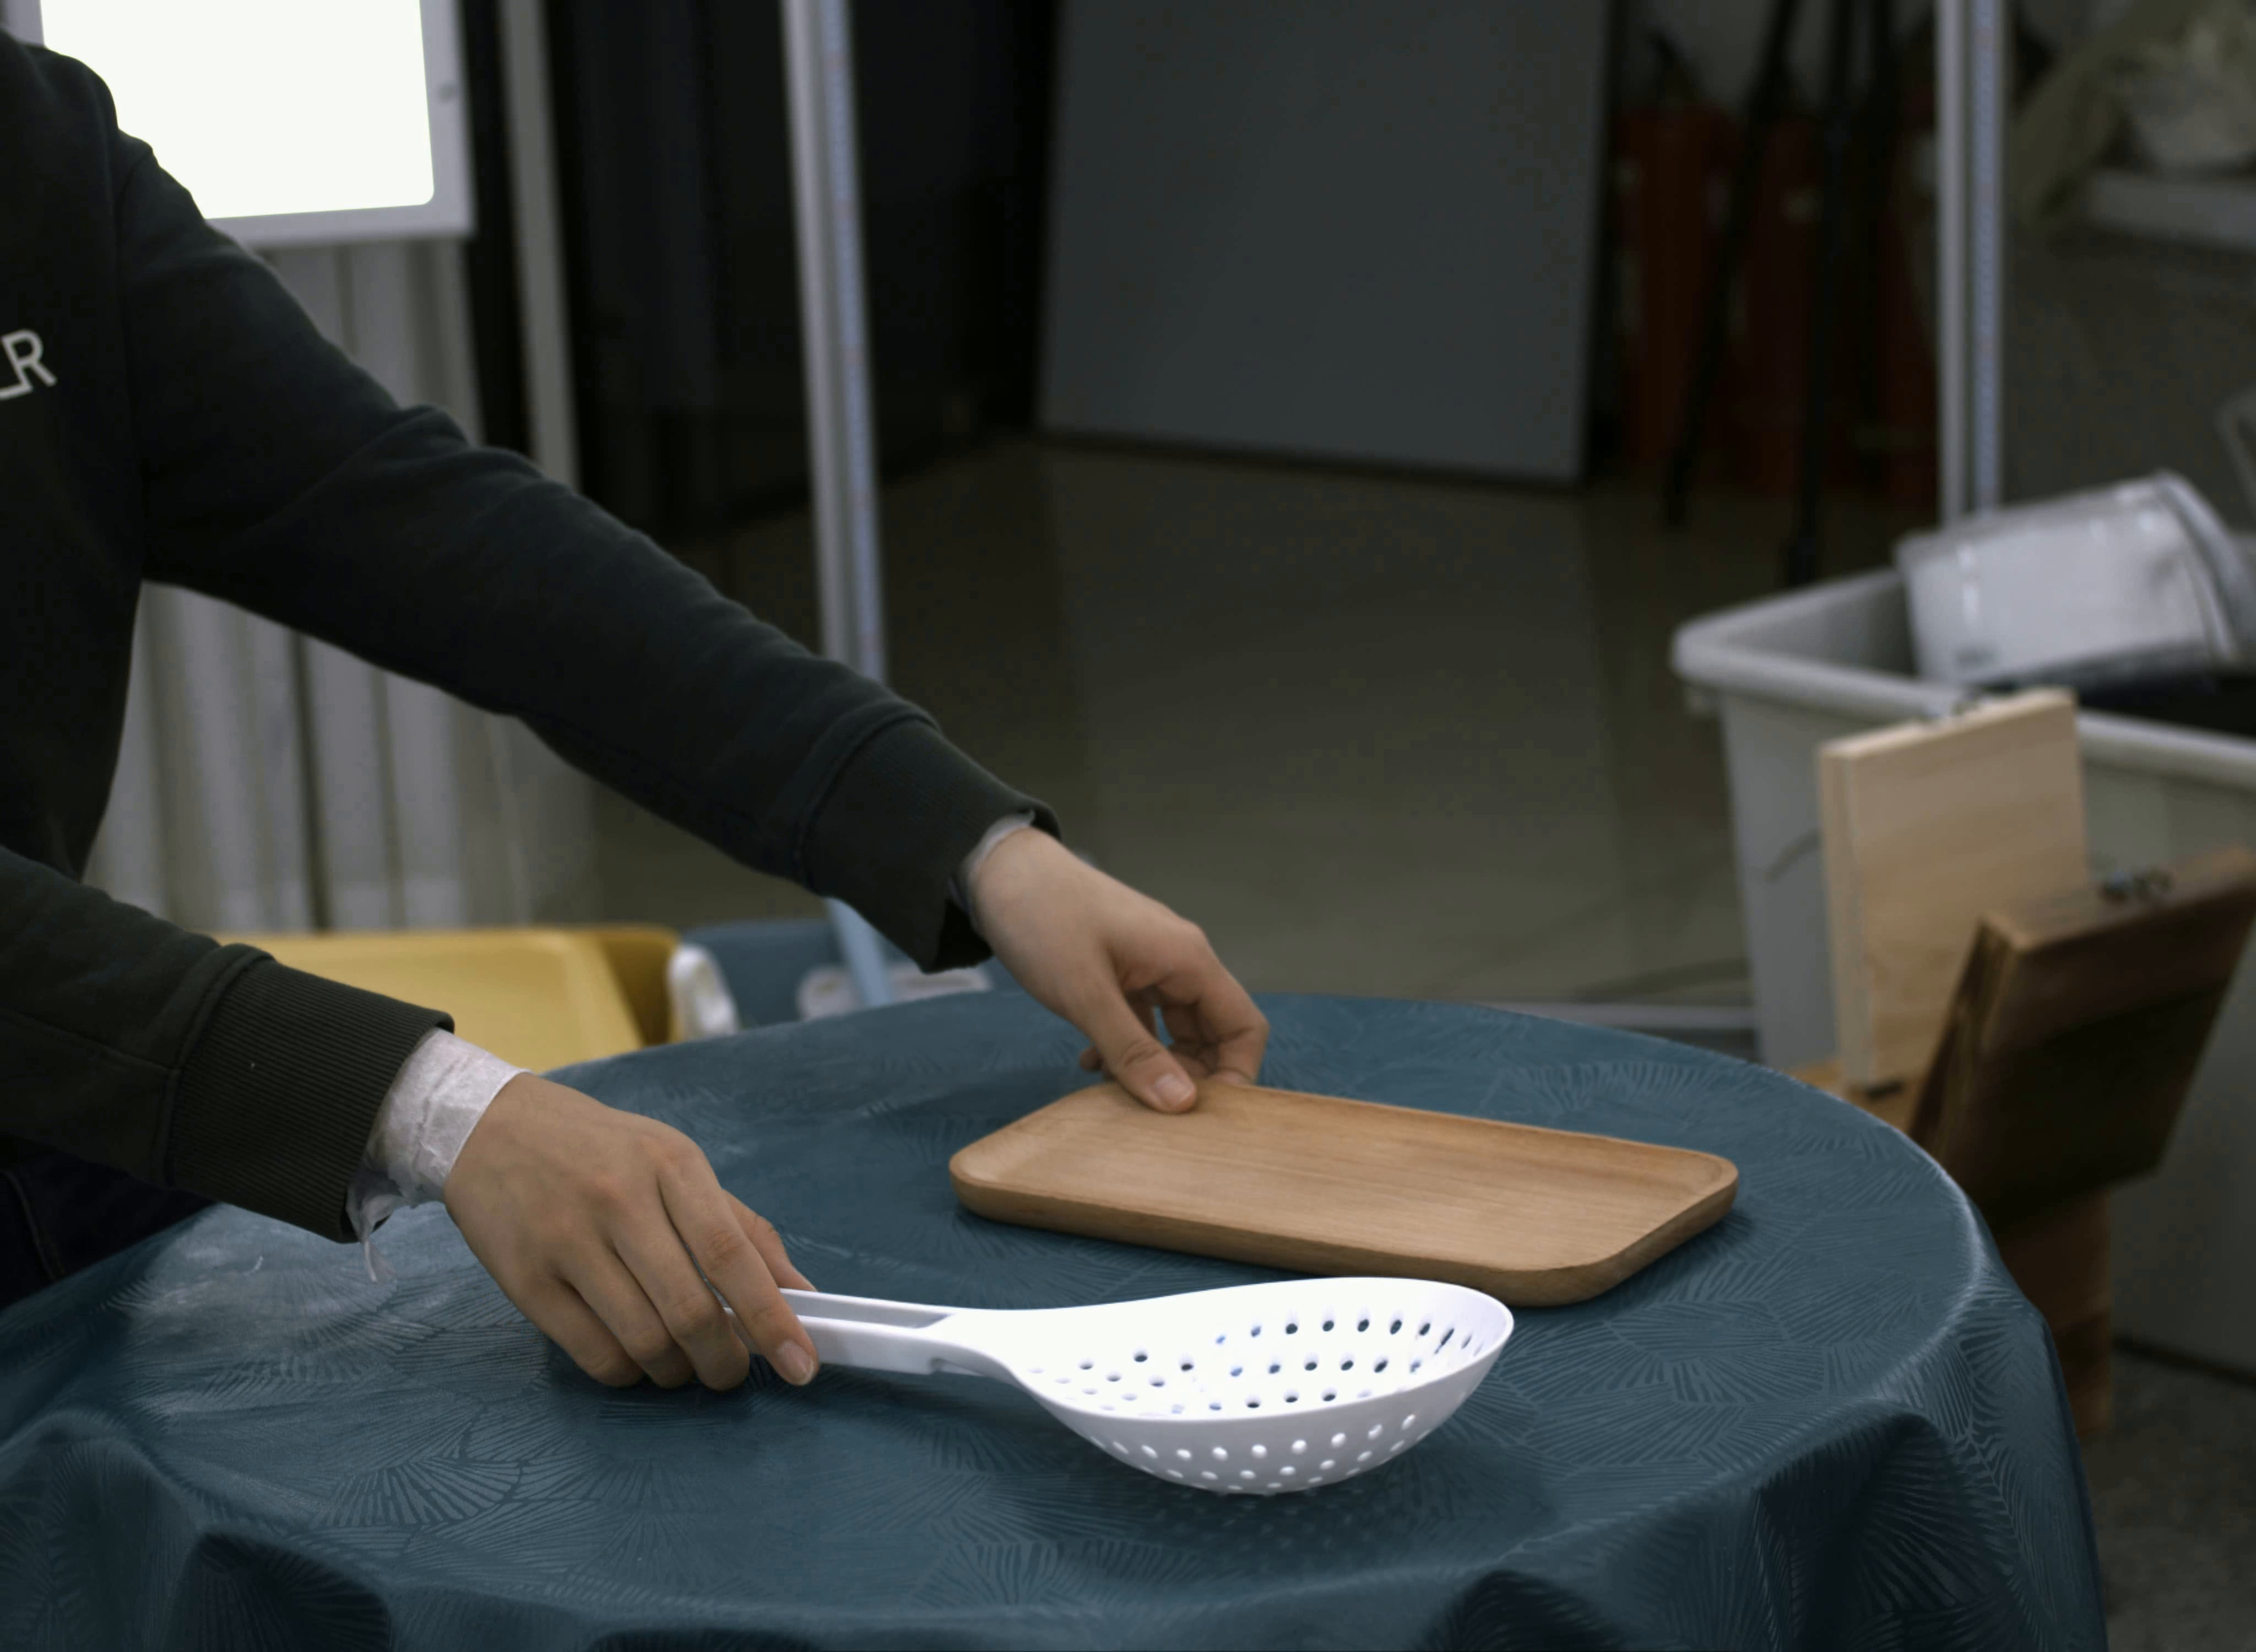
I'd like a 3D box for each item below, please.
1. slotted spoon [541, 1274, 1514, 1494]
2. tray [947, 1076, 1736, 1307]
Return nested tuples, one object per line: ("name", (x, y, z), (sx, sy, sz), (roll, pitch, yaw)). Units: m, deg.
("slotted spoon", (-0.041, 0.151, 1.570), (0.352, 0.046, 0.133), (6, 15, 39))
("tray", (0.067, 0.116, 1.736), (0.252, 0.023, 0.128), (5, 15, 36))
